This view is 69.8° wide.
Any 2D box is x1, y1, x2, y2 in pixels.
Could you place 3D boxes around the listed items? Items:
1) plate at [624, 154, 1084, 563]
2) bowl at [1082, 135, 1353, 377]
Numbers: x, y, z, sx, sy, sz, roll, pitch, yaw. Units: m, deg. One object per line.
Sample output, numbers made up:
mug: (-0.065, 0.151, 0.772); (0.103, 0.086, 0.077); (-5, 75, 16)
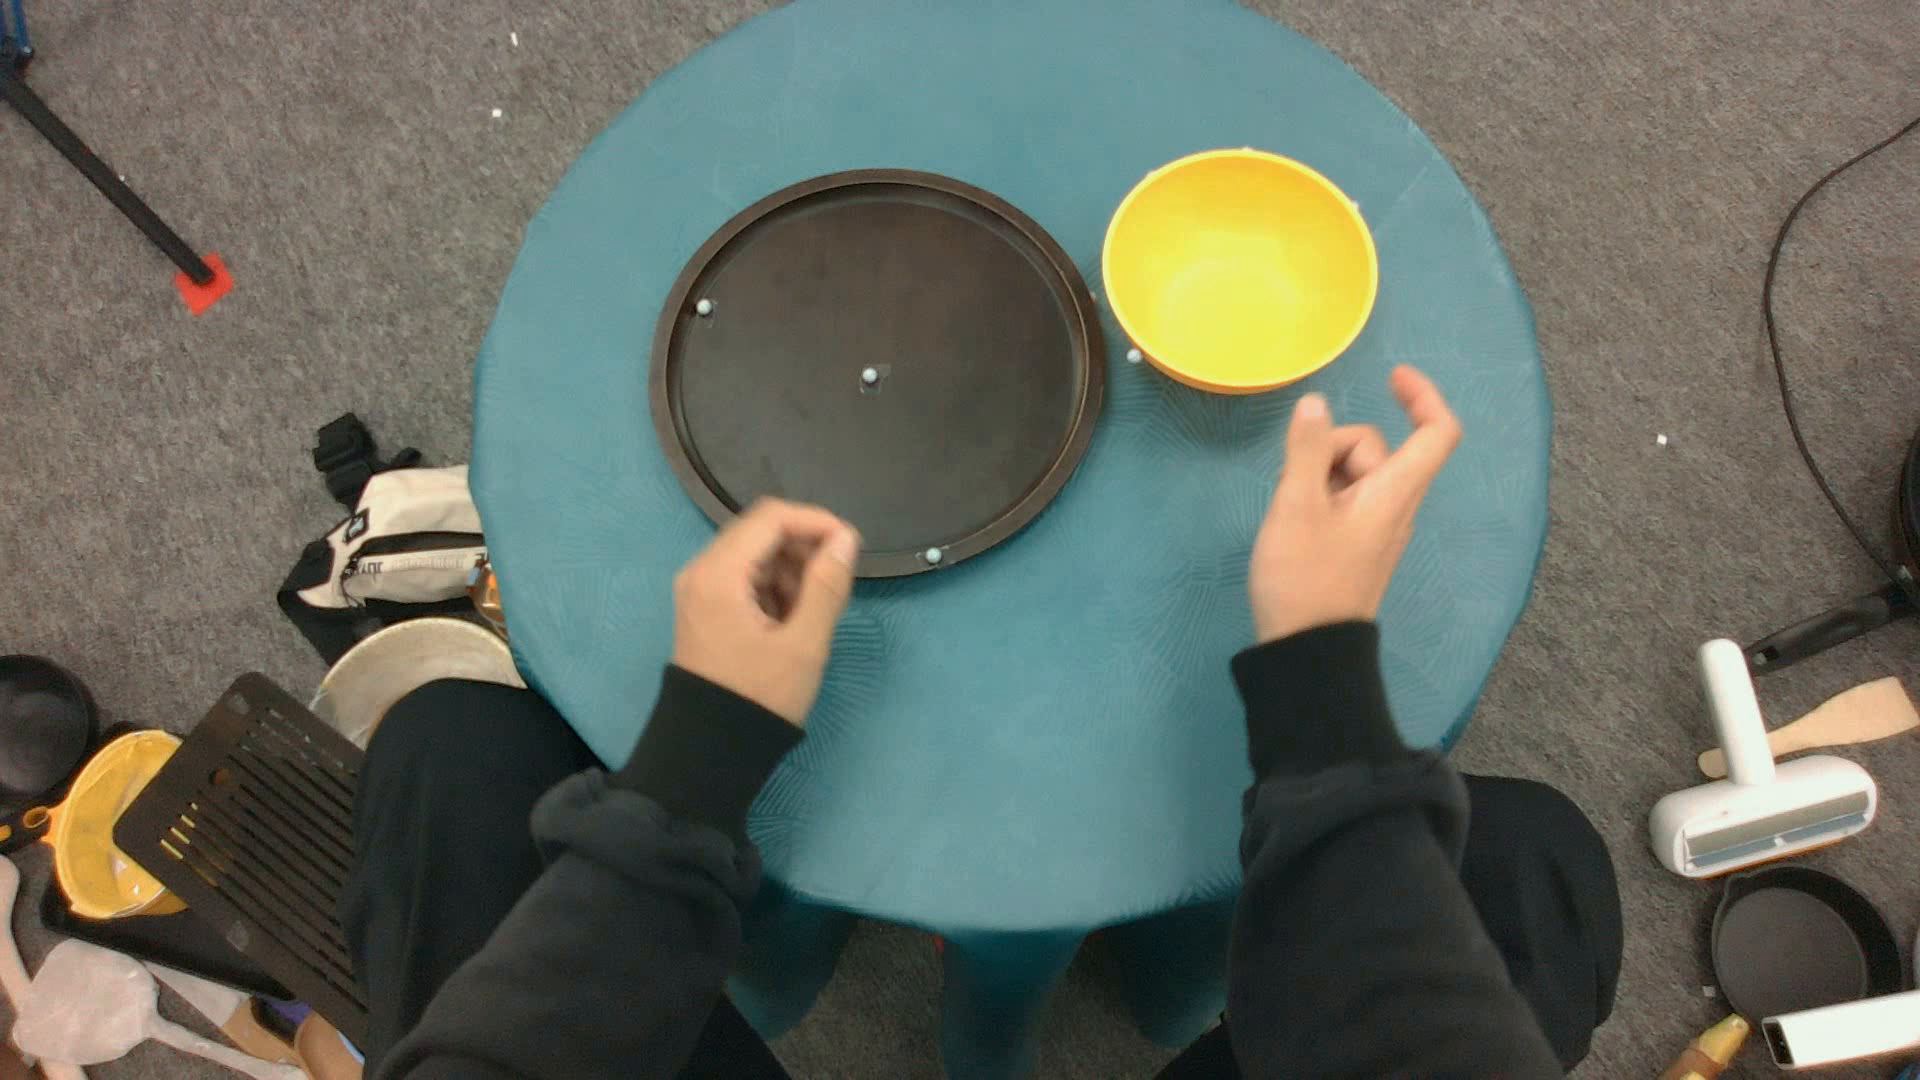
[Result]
plate: (-0.058, -0.105, 0.764); (0.255, 0.029, 0.255); (0, 70, -1)
bowl: (0.139, -0.147, 0.764); (0.145, 0.060, 0.146); (-1, 71, 2)
